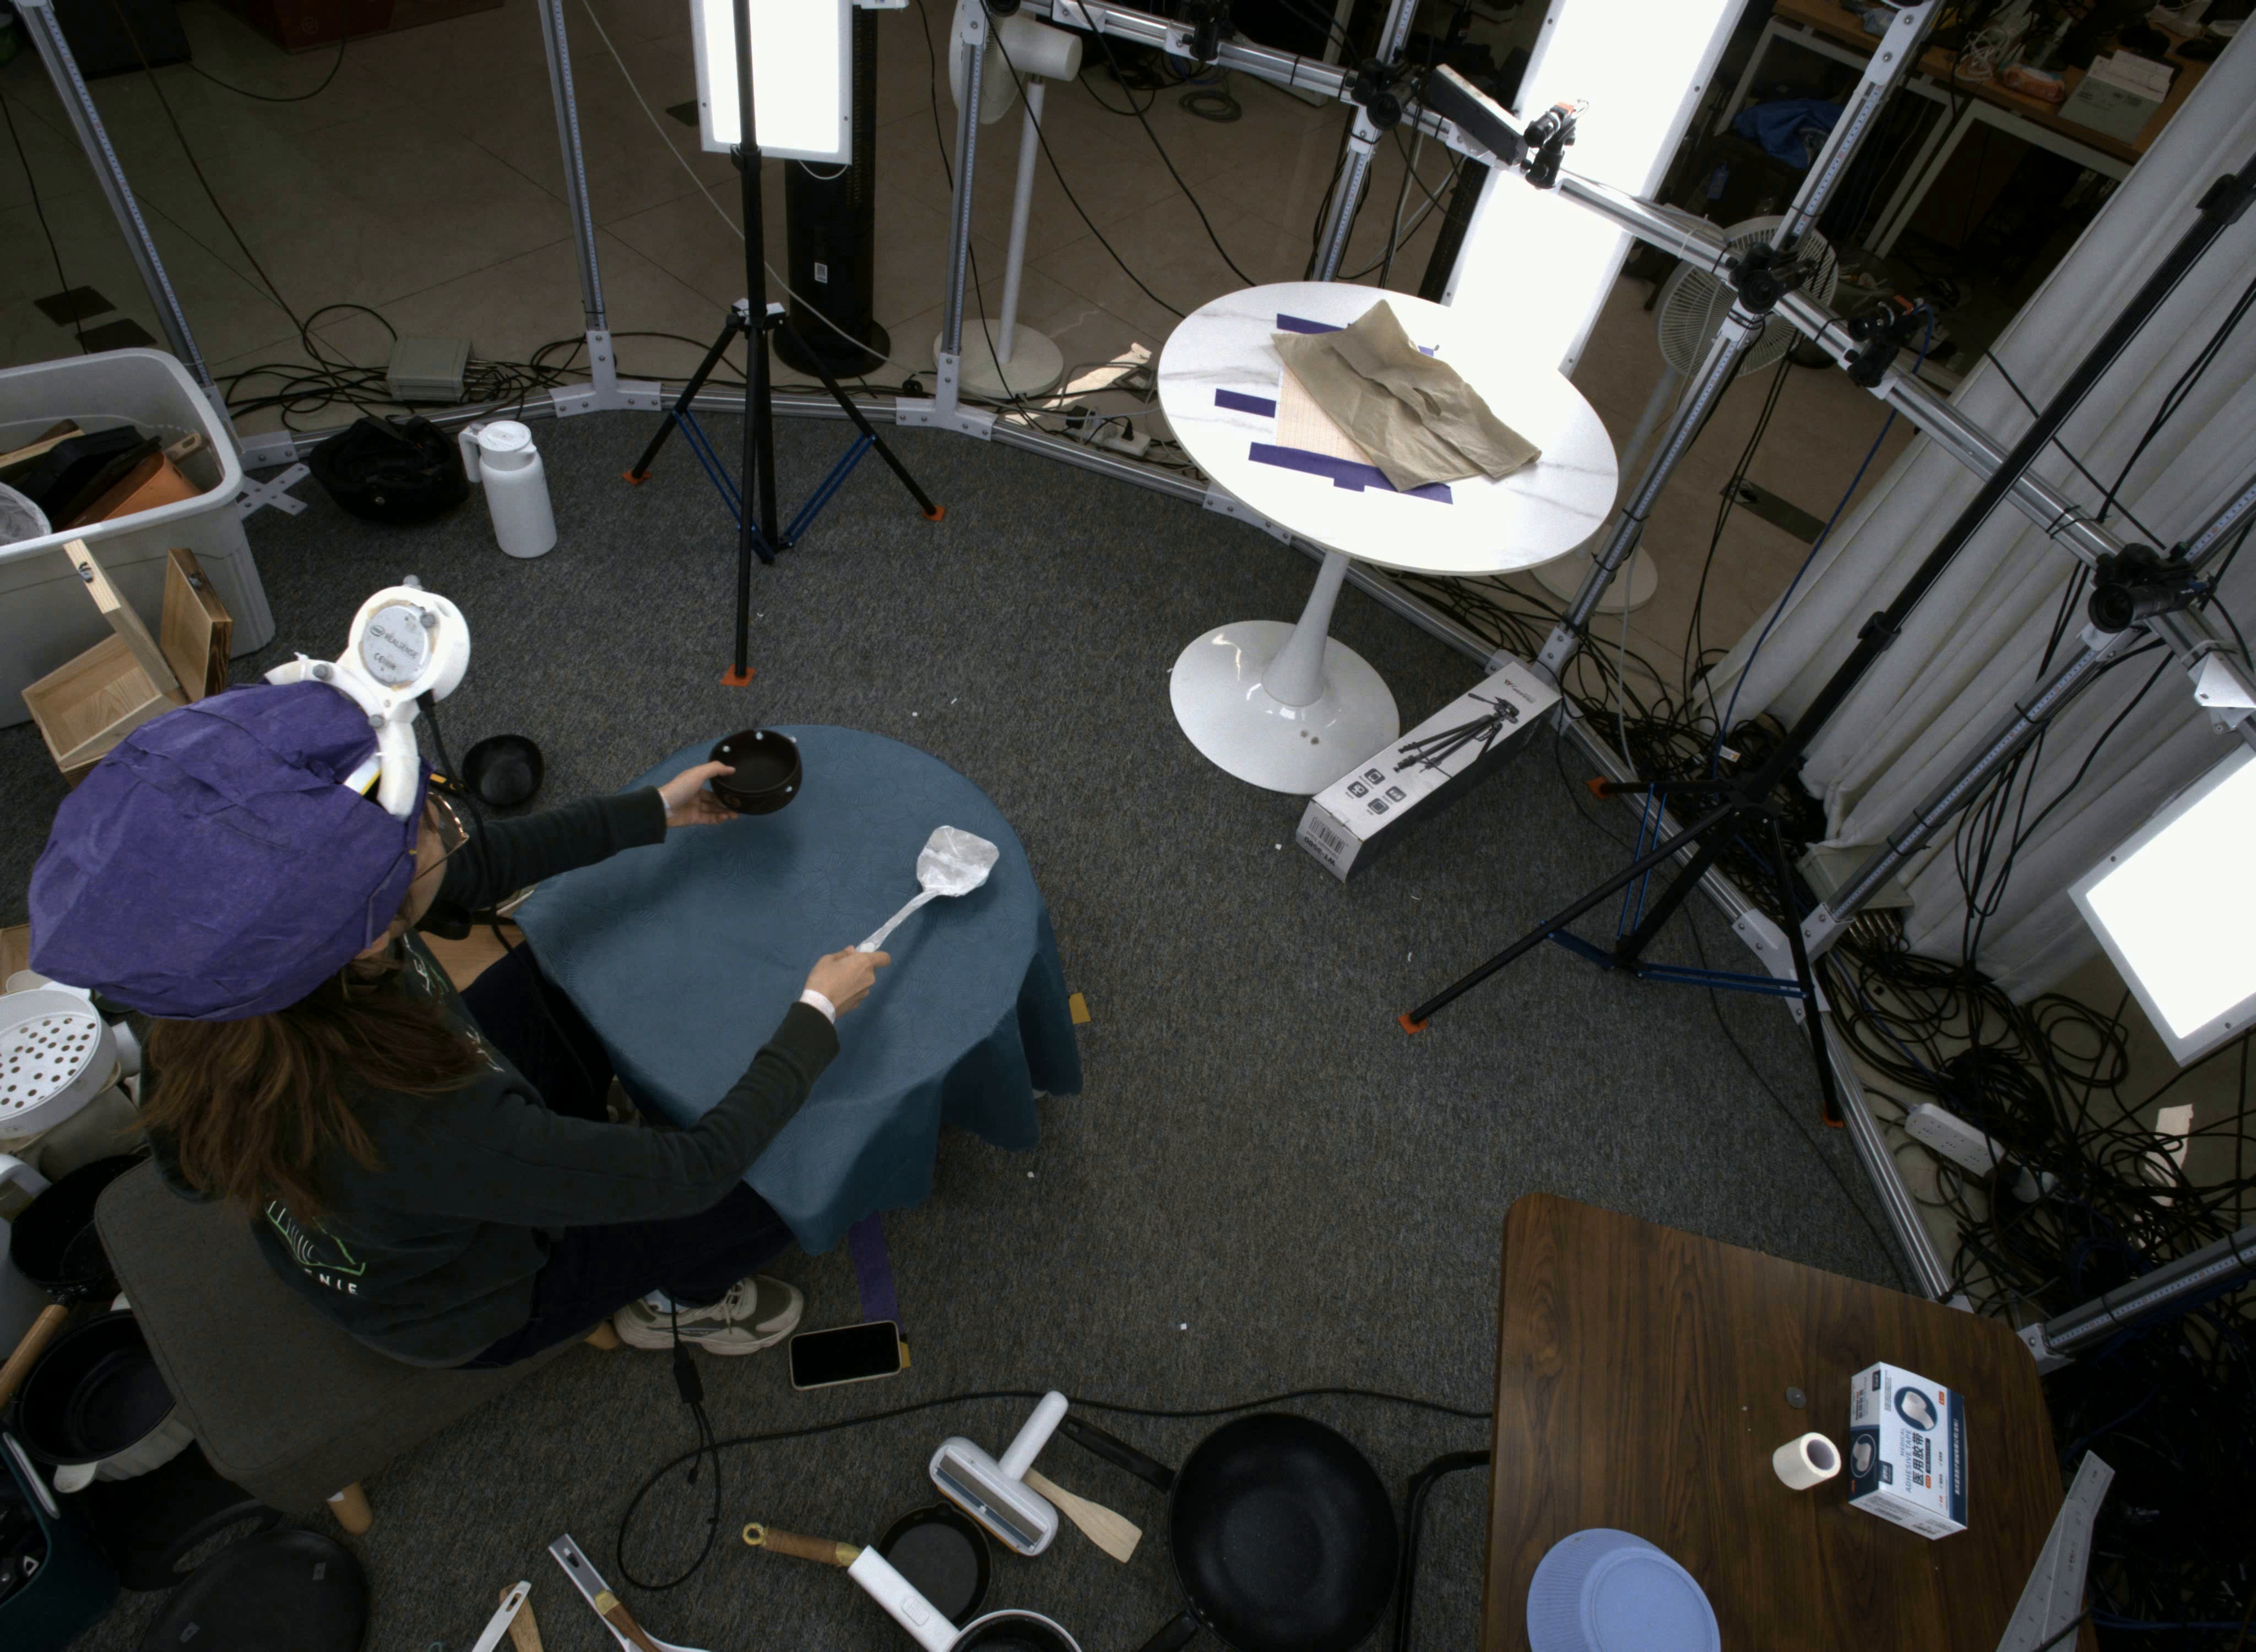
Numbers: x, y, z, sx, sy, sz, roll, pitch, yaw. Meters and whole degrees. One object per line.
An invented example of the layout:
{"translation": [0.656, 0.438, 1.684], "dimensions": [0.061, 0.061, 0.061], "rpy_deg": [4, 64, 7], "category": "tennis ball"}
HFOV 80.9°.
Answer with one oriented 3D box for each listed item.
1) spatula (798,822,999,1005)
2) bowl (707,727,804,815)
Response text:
{"translation": [-0.286, 0.106, 1.604], "dimensions": [0.096, 0.046, 0.364], "rpy_deg": [26, 37, 14], "category": "spatula"}
{"translation": [-0.471, -0.063, 1.648], "dimensions": [0.117, 0.072, 0.116], "rpy_deg": [3, 49, -2], "category": "bowl"}
